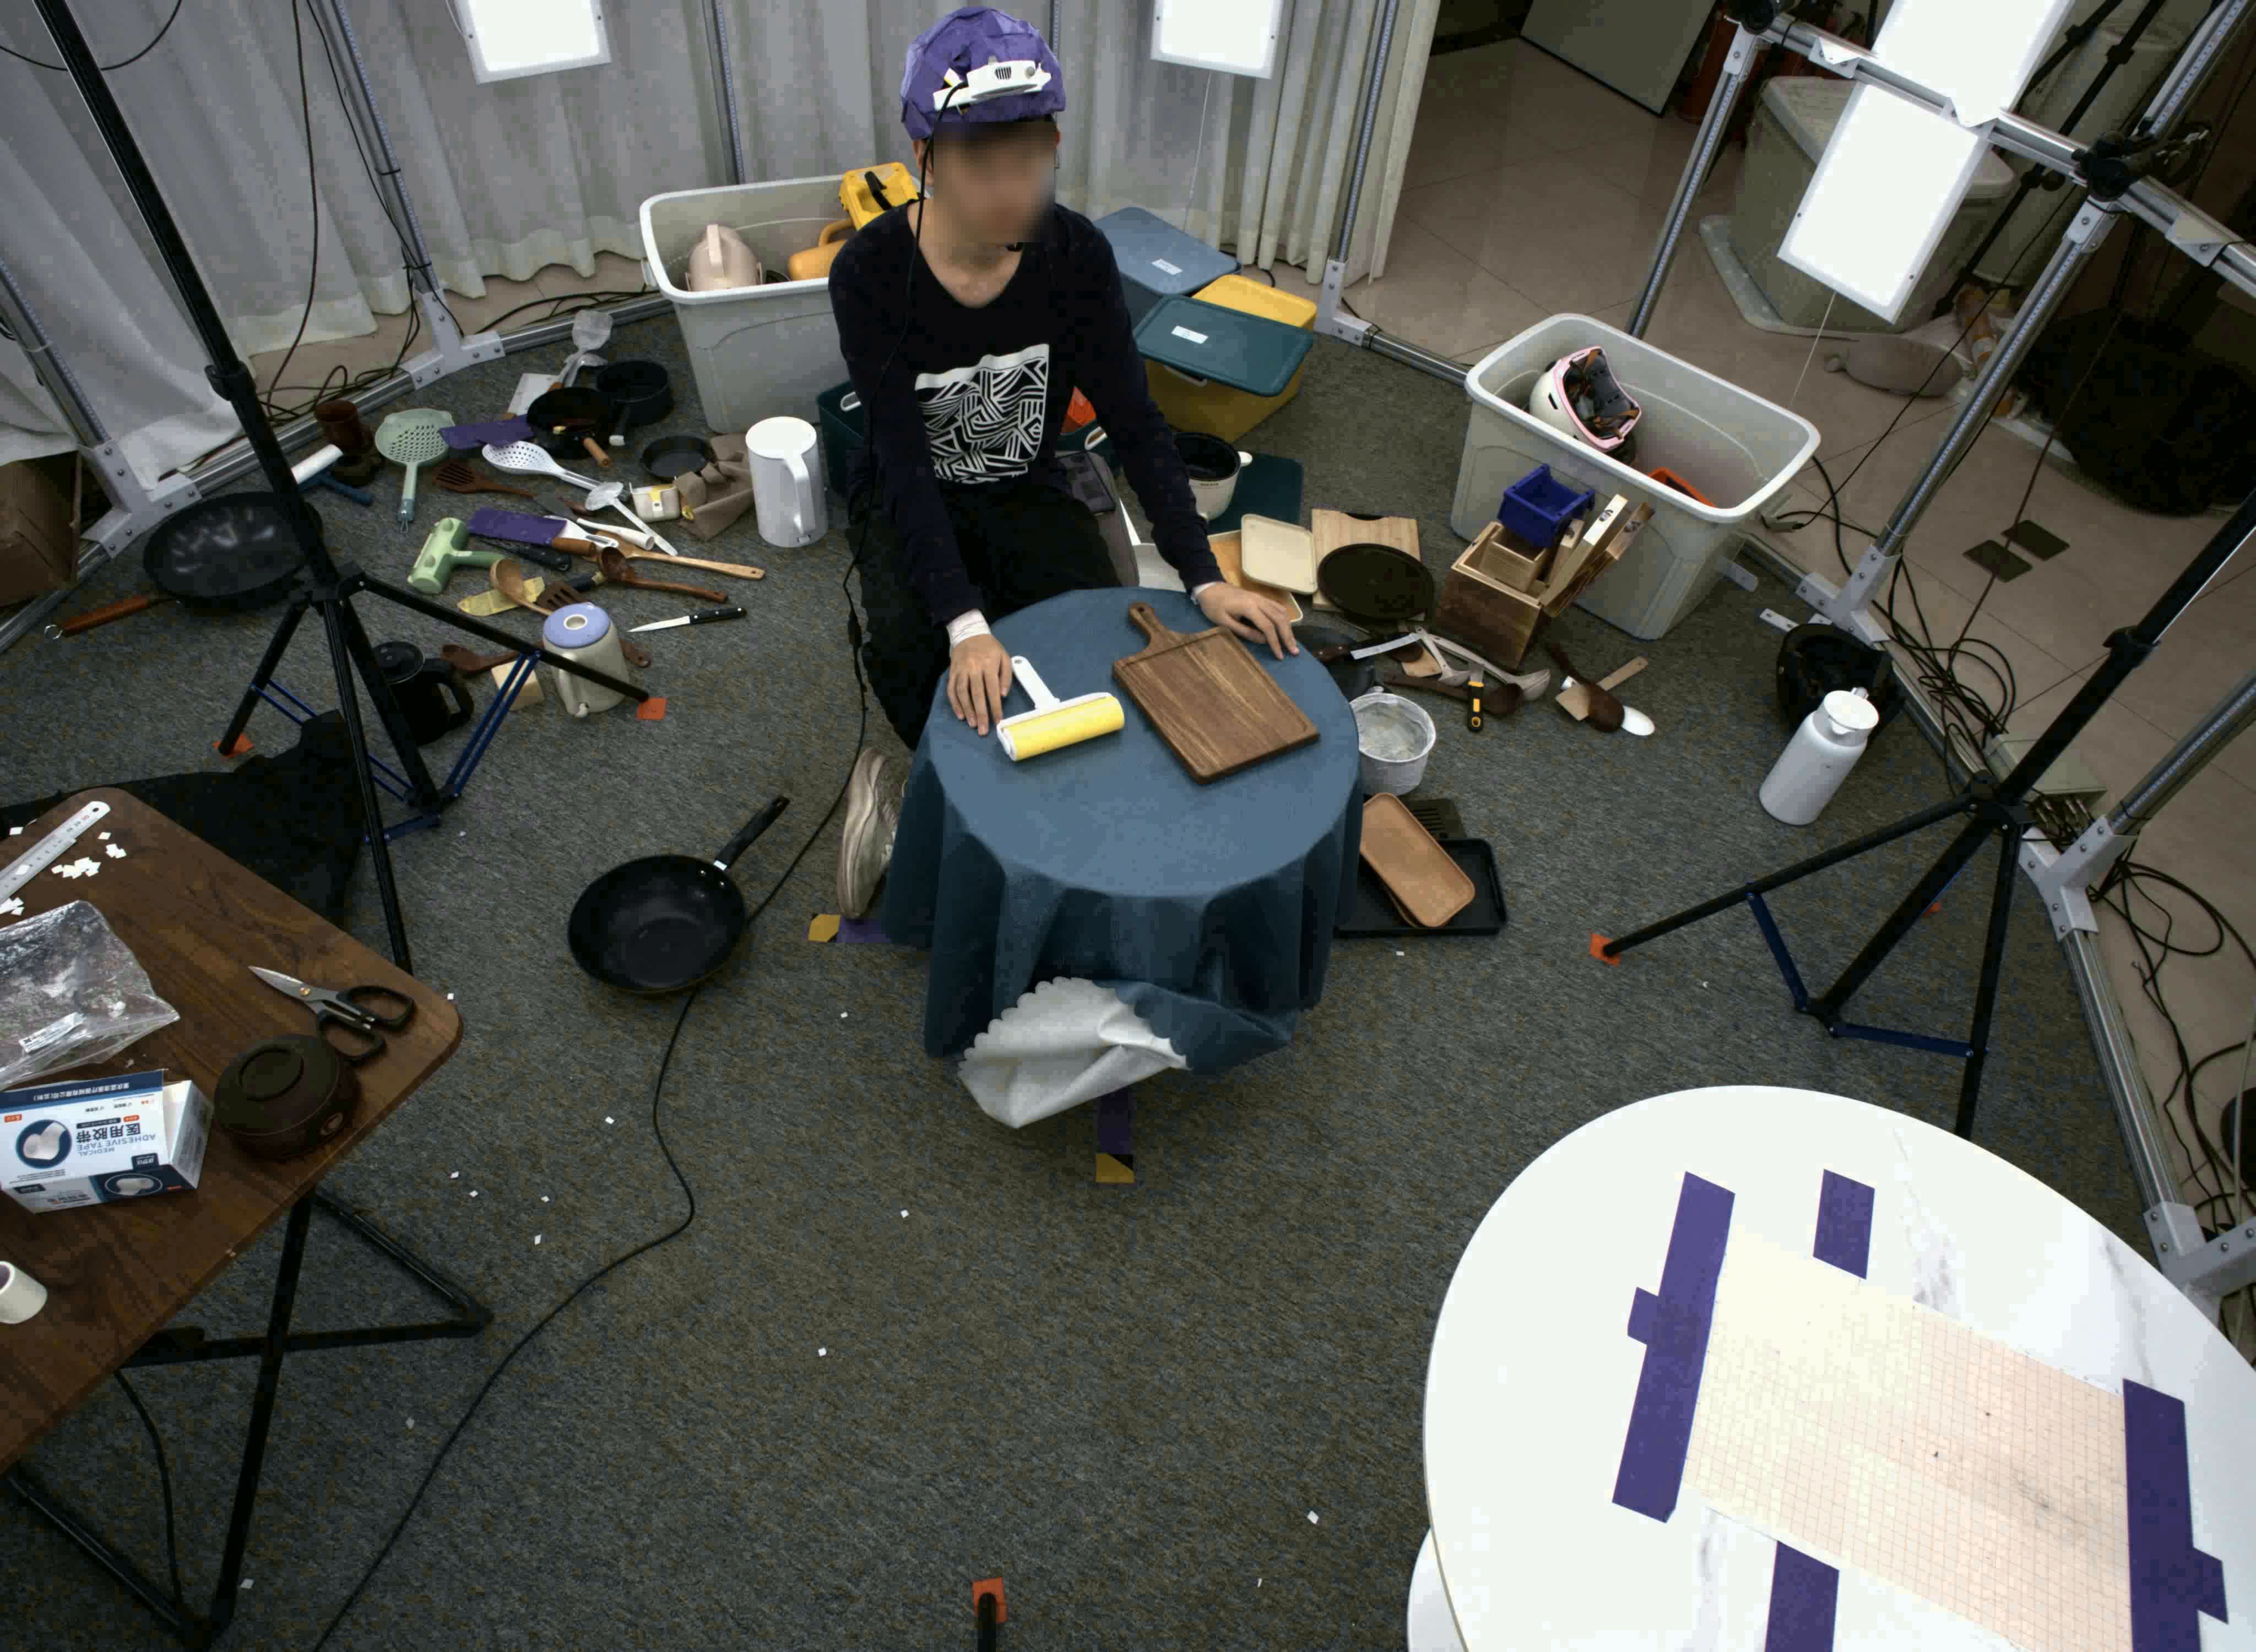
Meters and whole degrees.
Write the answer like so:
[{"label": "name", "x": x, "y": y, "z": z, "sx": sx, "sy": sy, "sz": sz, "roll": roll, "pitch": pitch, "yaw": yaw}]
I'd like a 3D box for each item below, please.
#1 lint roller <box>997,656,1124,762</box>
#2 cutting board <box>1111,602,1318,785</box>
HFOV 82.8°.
[{"label": "lint roller", "x": -0.120, "y": -0.183, "z": 1.786, "sx": 0.174, "sy": 0.050, "sz": 0.196, "roll": -19, "pitch": 56, "yaw": -20}, {"label": "cutting board", "x": 0.096, "y": -0.211, "z": 1.844, "sx": 0.201, "sy": 0.022, "sz": 0.360, "roll": -21, "pitch": 53, "yaw": -21}]
